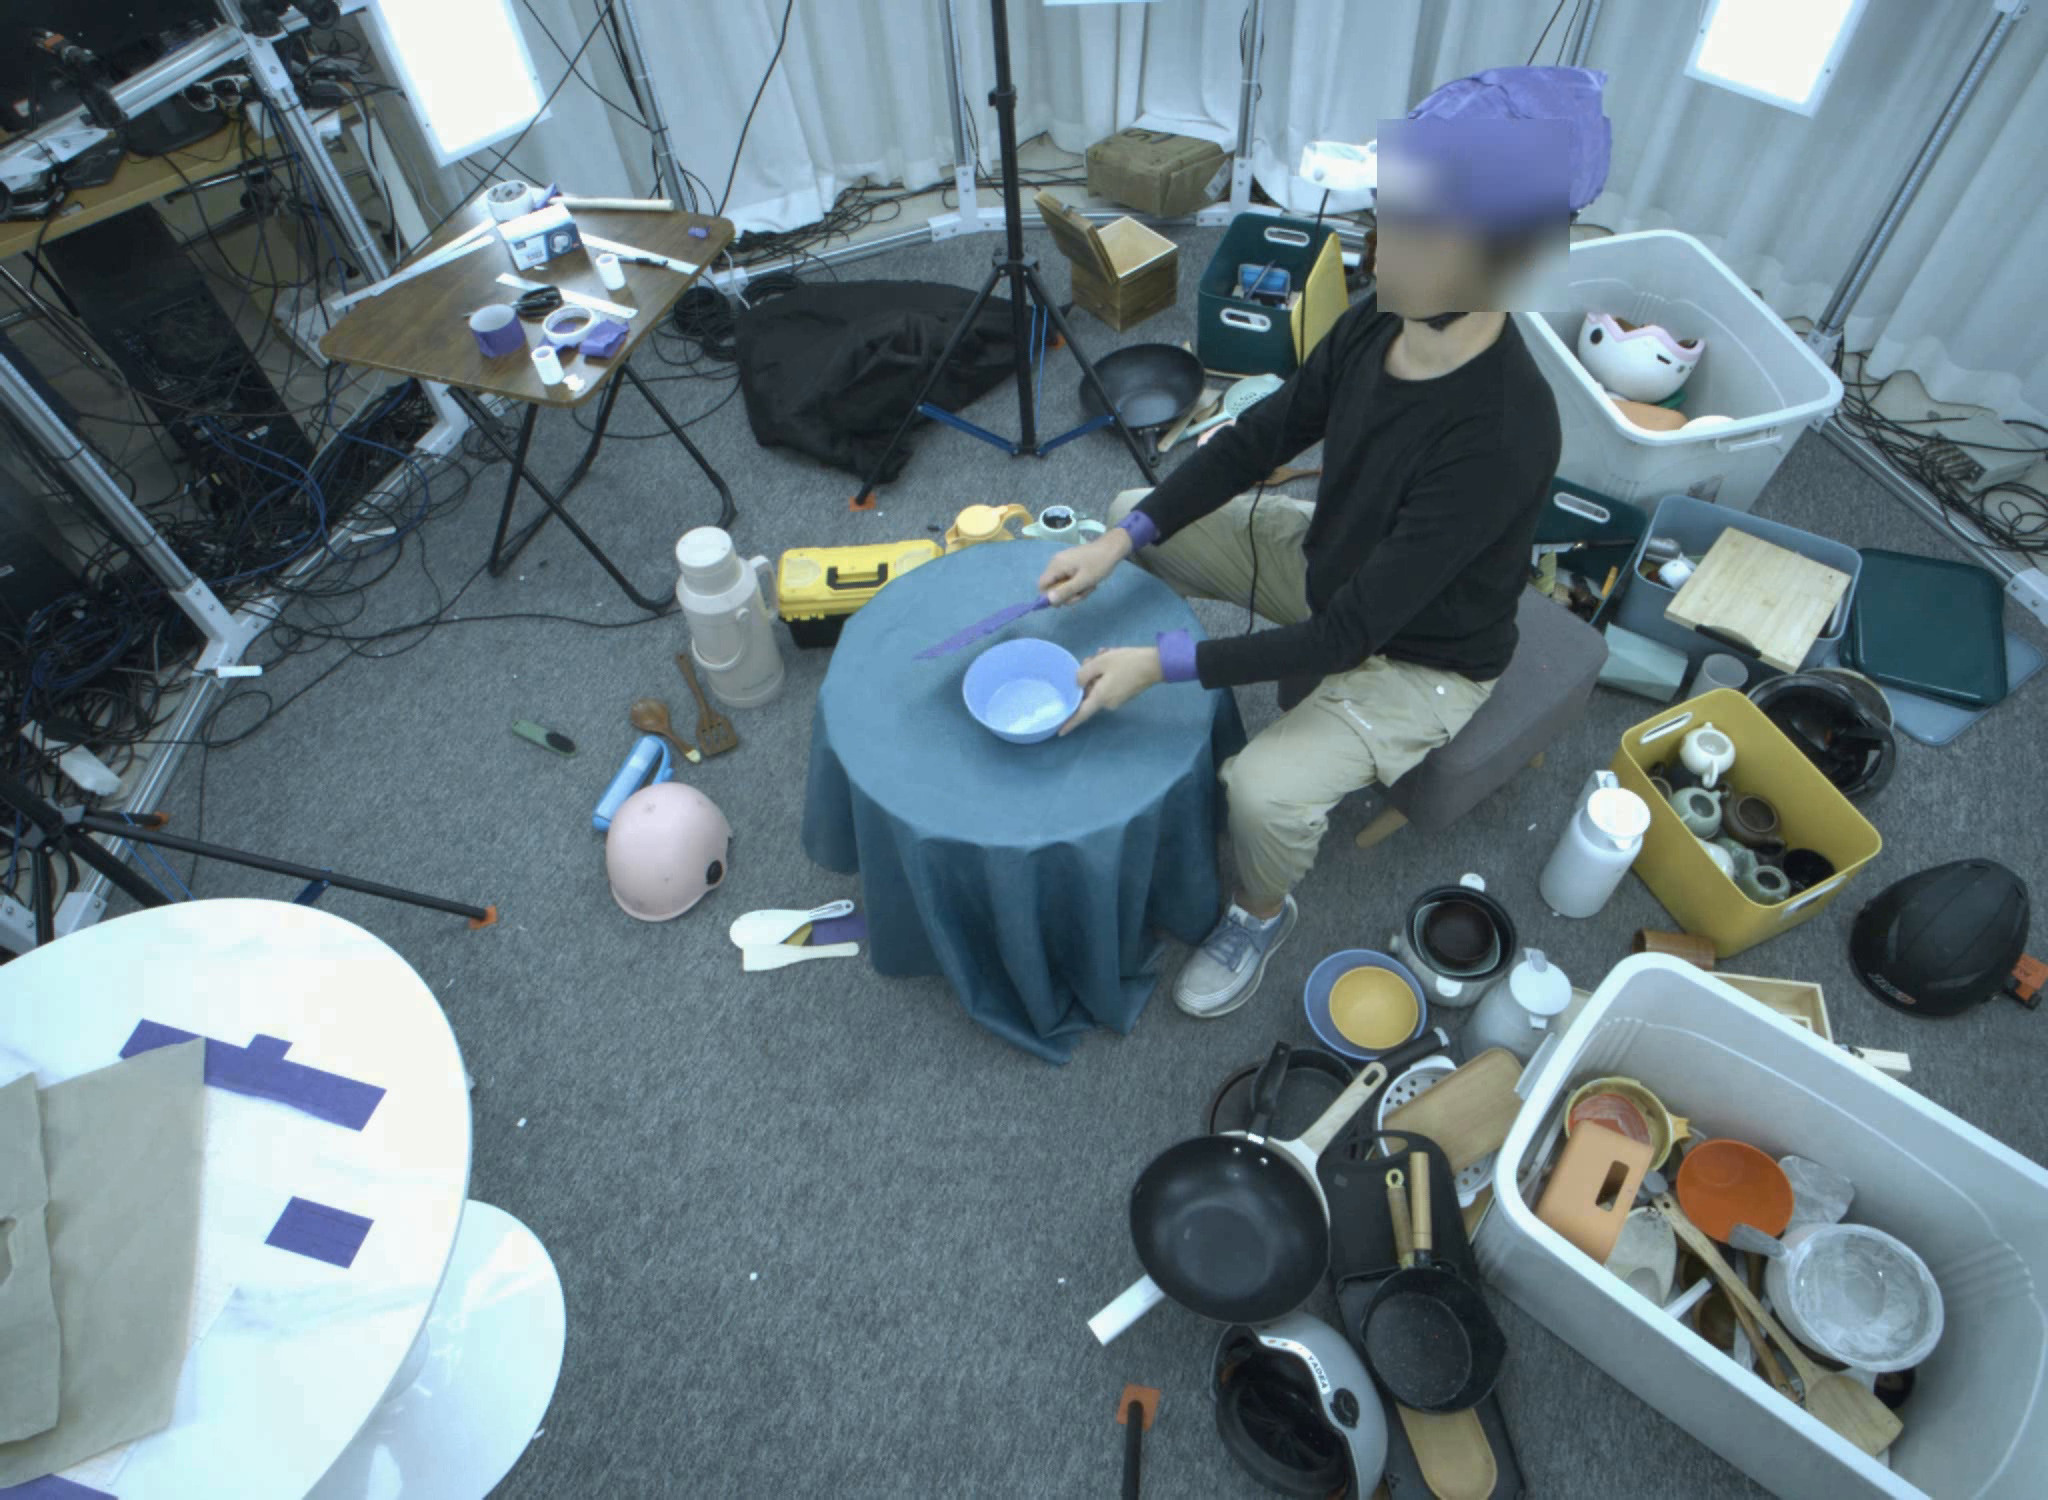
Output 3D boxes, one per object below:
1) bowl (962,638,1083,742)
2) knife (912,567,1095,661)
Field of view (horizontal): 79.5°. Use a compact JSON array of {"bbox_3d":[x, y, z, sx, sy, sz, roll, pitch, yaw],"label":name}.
[{"bbox_3d":[-0.001,-0.077,1.794,0.176,0.071,0.174,0,55,1],"label":"bowl"},{"bbox_3d":[-0.032,-0.204,1.838,0.319,0.032,0.101,-30,19,-33],"label":"knife"}]
